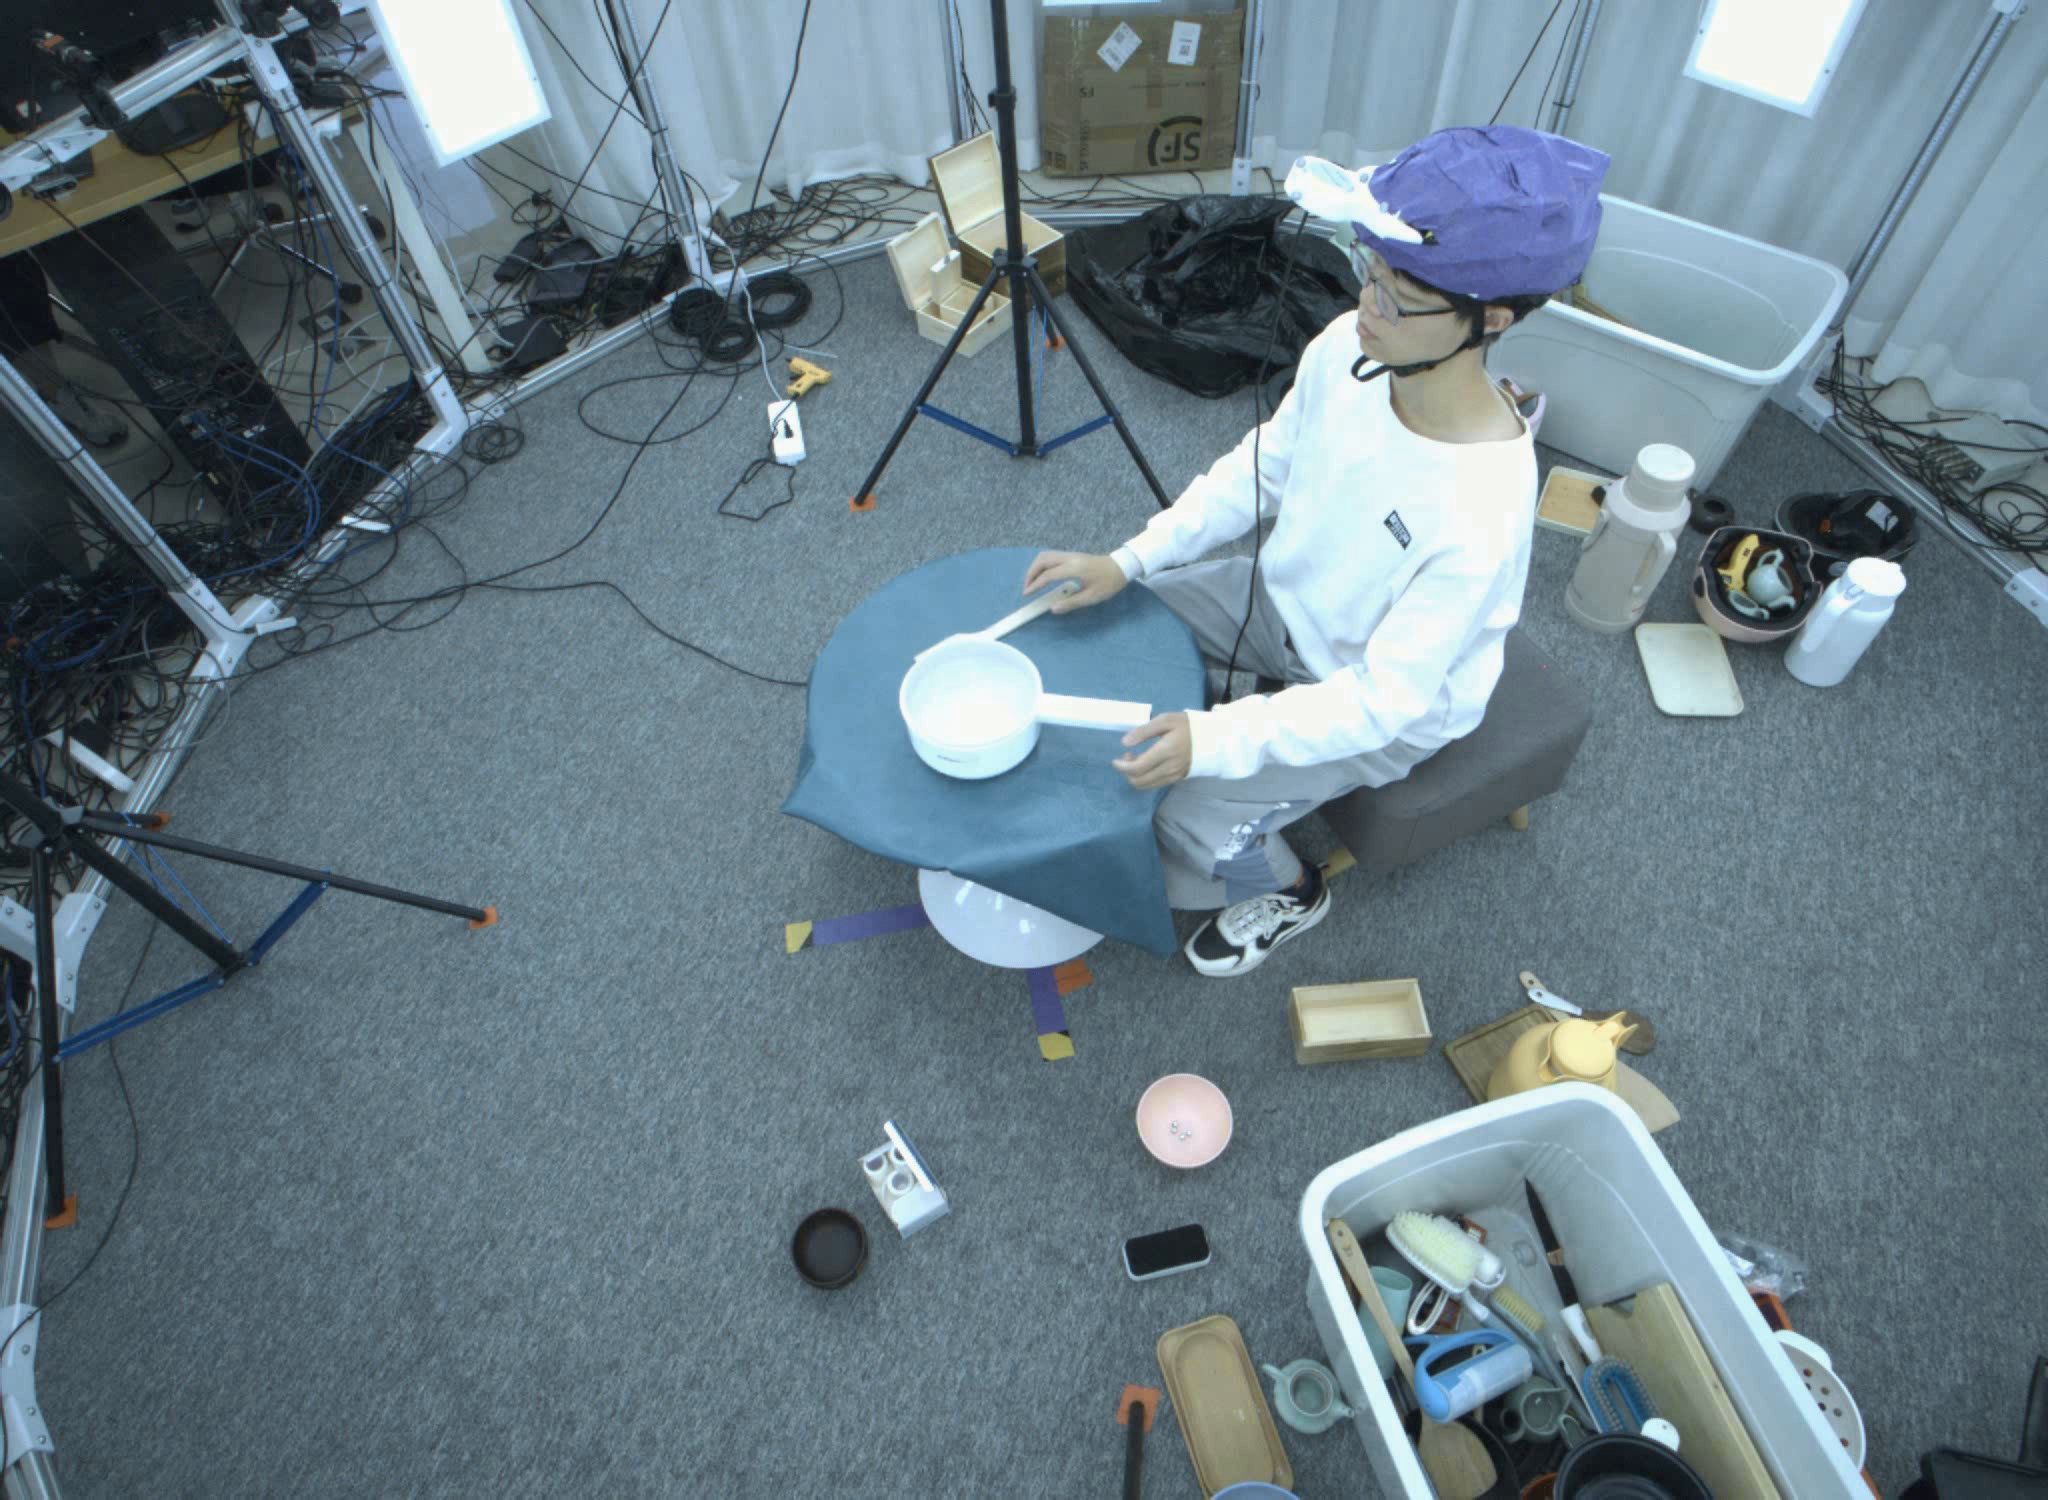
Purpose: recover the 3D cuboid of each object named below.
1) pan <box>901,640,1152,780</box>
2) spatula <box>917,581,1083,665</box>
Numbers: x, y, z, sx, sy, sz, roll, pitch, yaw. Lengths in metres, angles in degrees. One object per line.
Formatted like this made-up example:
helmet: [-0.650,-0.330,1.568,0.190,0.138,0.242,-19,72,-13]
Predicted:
pan: [0.004,-0.043,1.756,0.353,0.103,0.200,8,54,6]
spatula: [-0.030,-0.193,1.918,0.295,0.011,0.071,-32,58,-19]
